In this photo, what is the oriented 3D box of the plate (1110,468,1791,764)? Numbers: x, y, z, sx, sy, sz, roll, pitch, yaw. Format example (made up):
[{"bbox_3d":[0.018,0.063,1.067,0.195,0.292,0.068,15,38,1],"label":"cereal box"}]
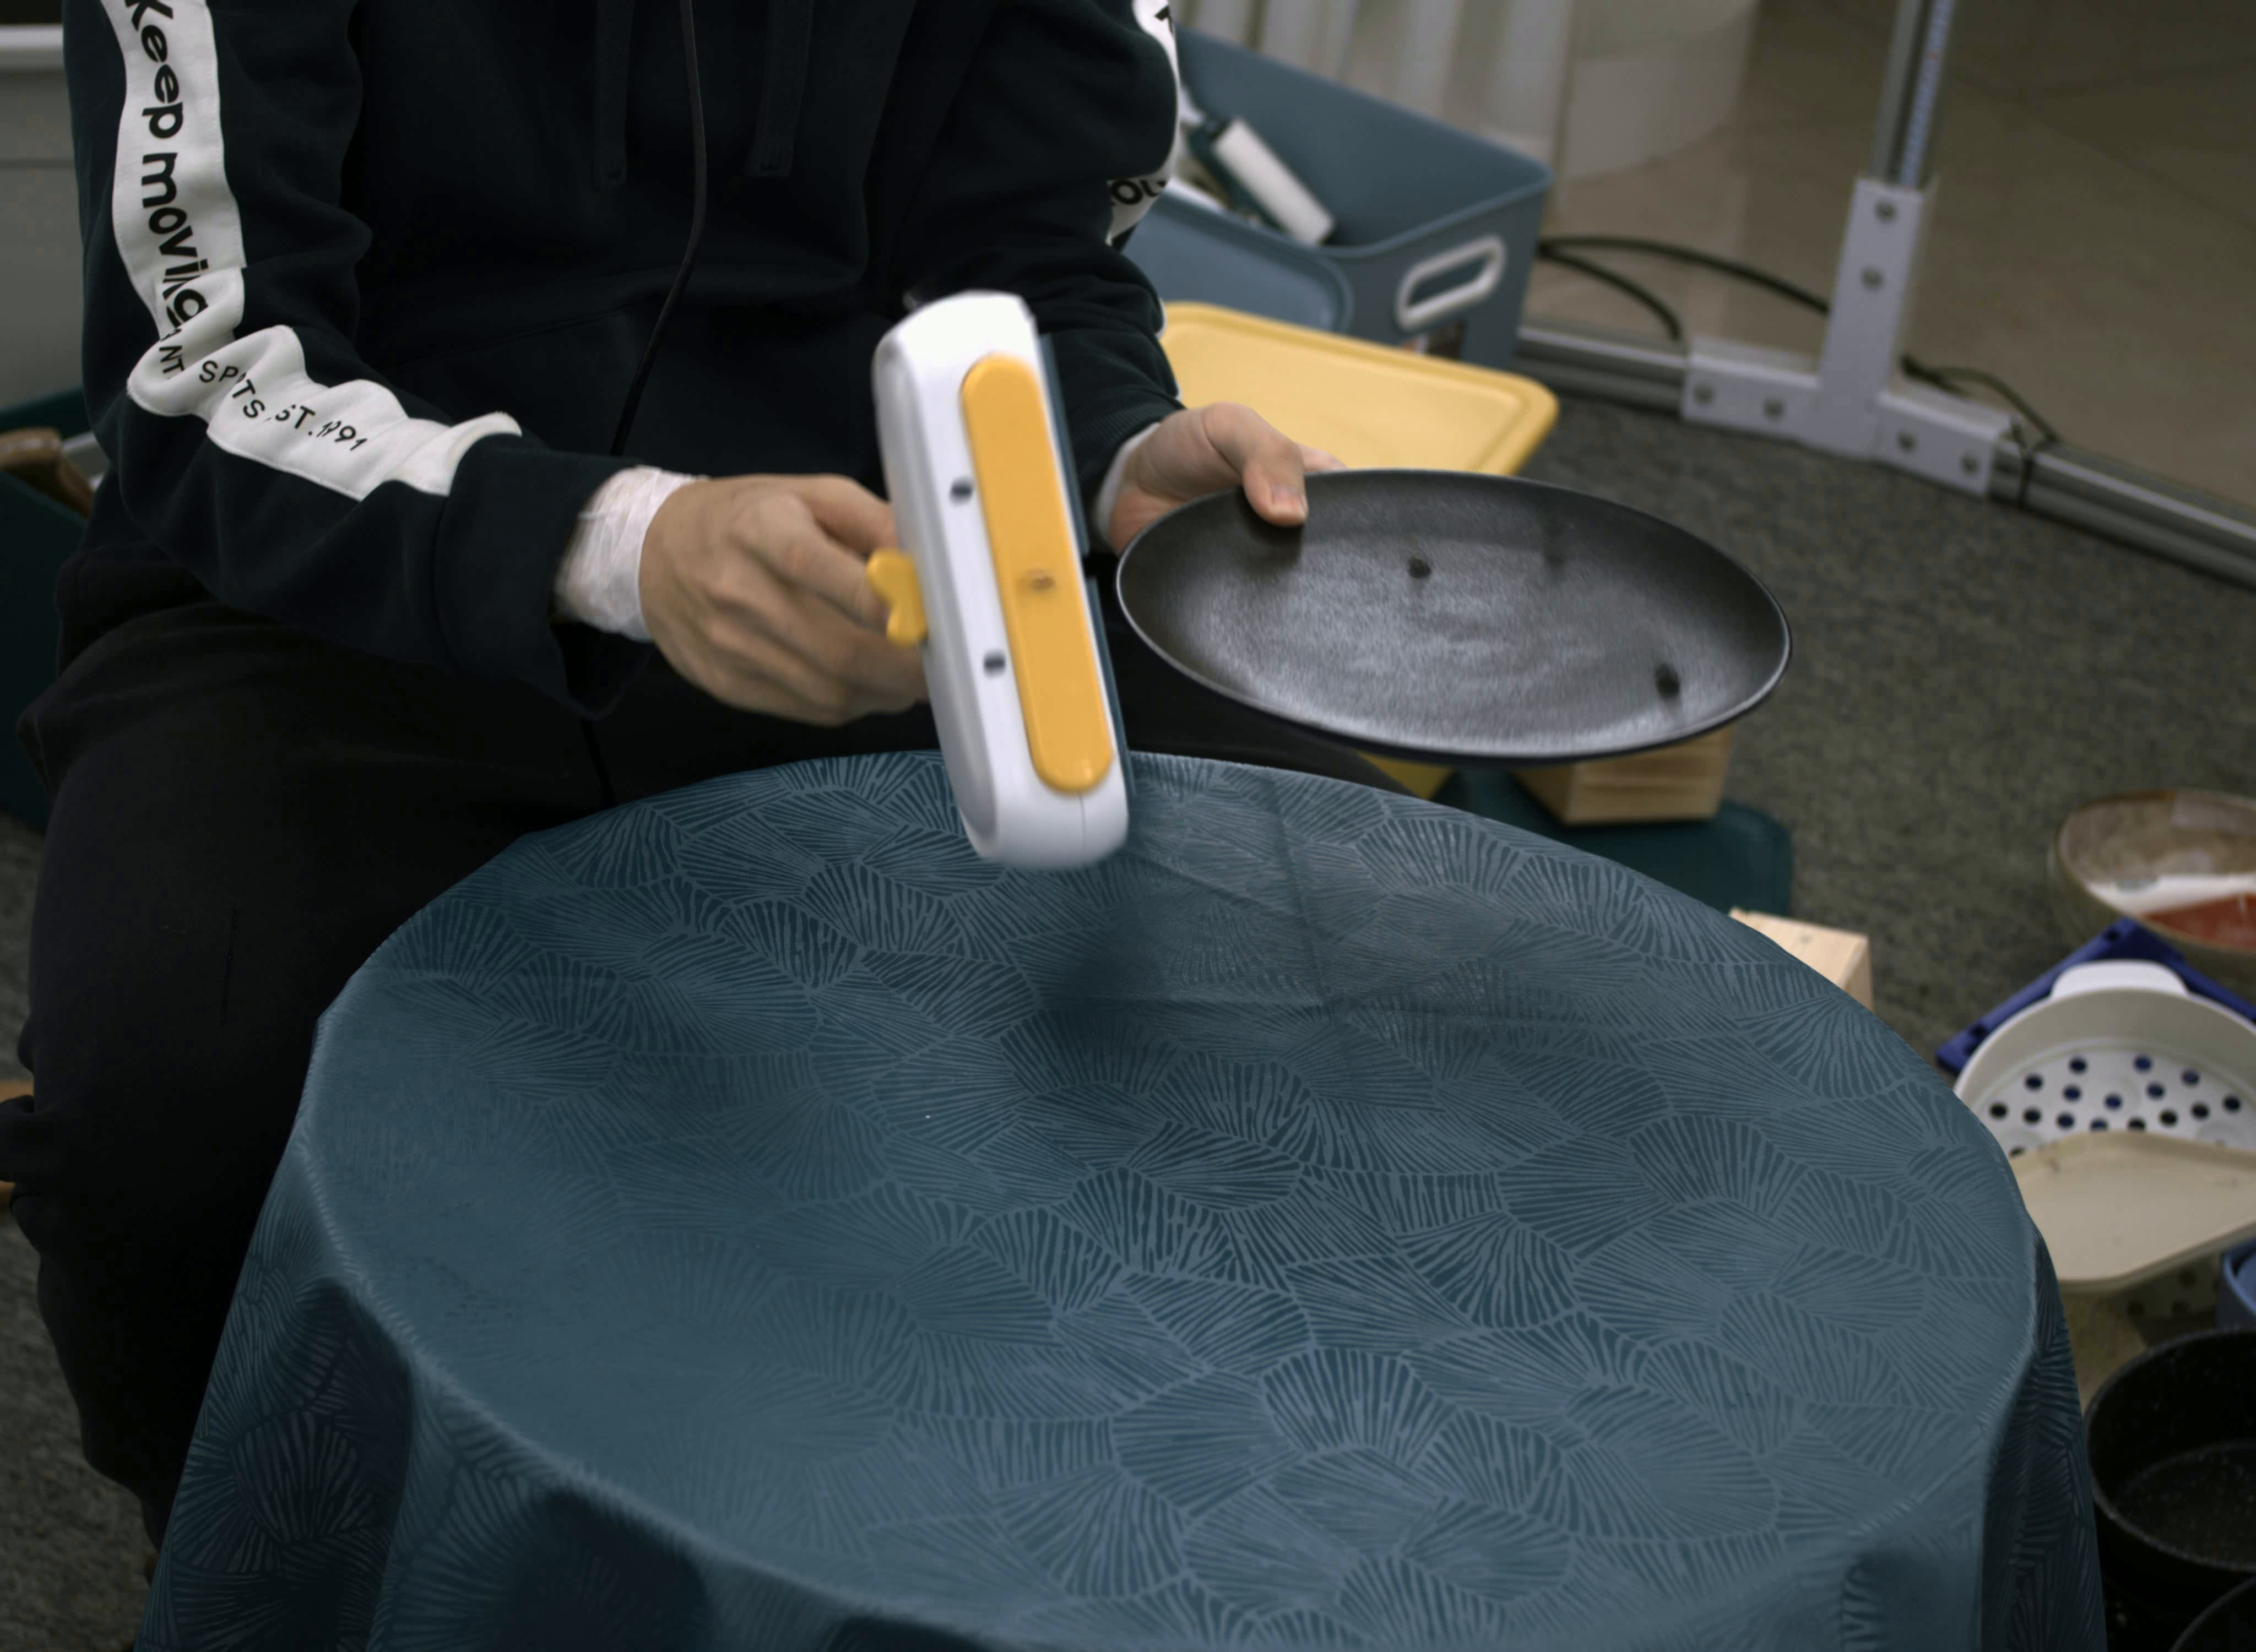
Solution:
[{"bbox_3d":[0.114,-0.071,1.901,0.243,0.023,0.246,4,26,-2],"label":"plate"}]

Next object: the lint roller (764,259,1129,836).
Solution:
[{"bbox_3d":[-0.070,-0.080,1.808,0.074,0.193,0.193,-15,-4,-22],"label":"lint roller"}]
